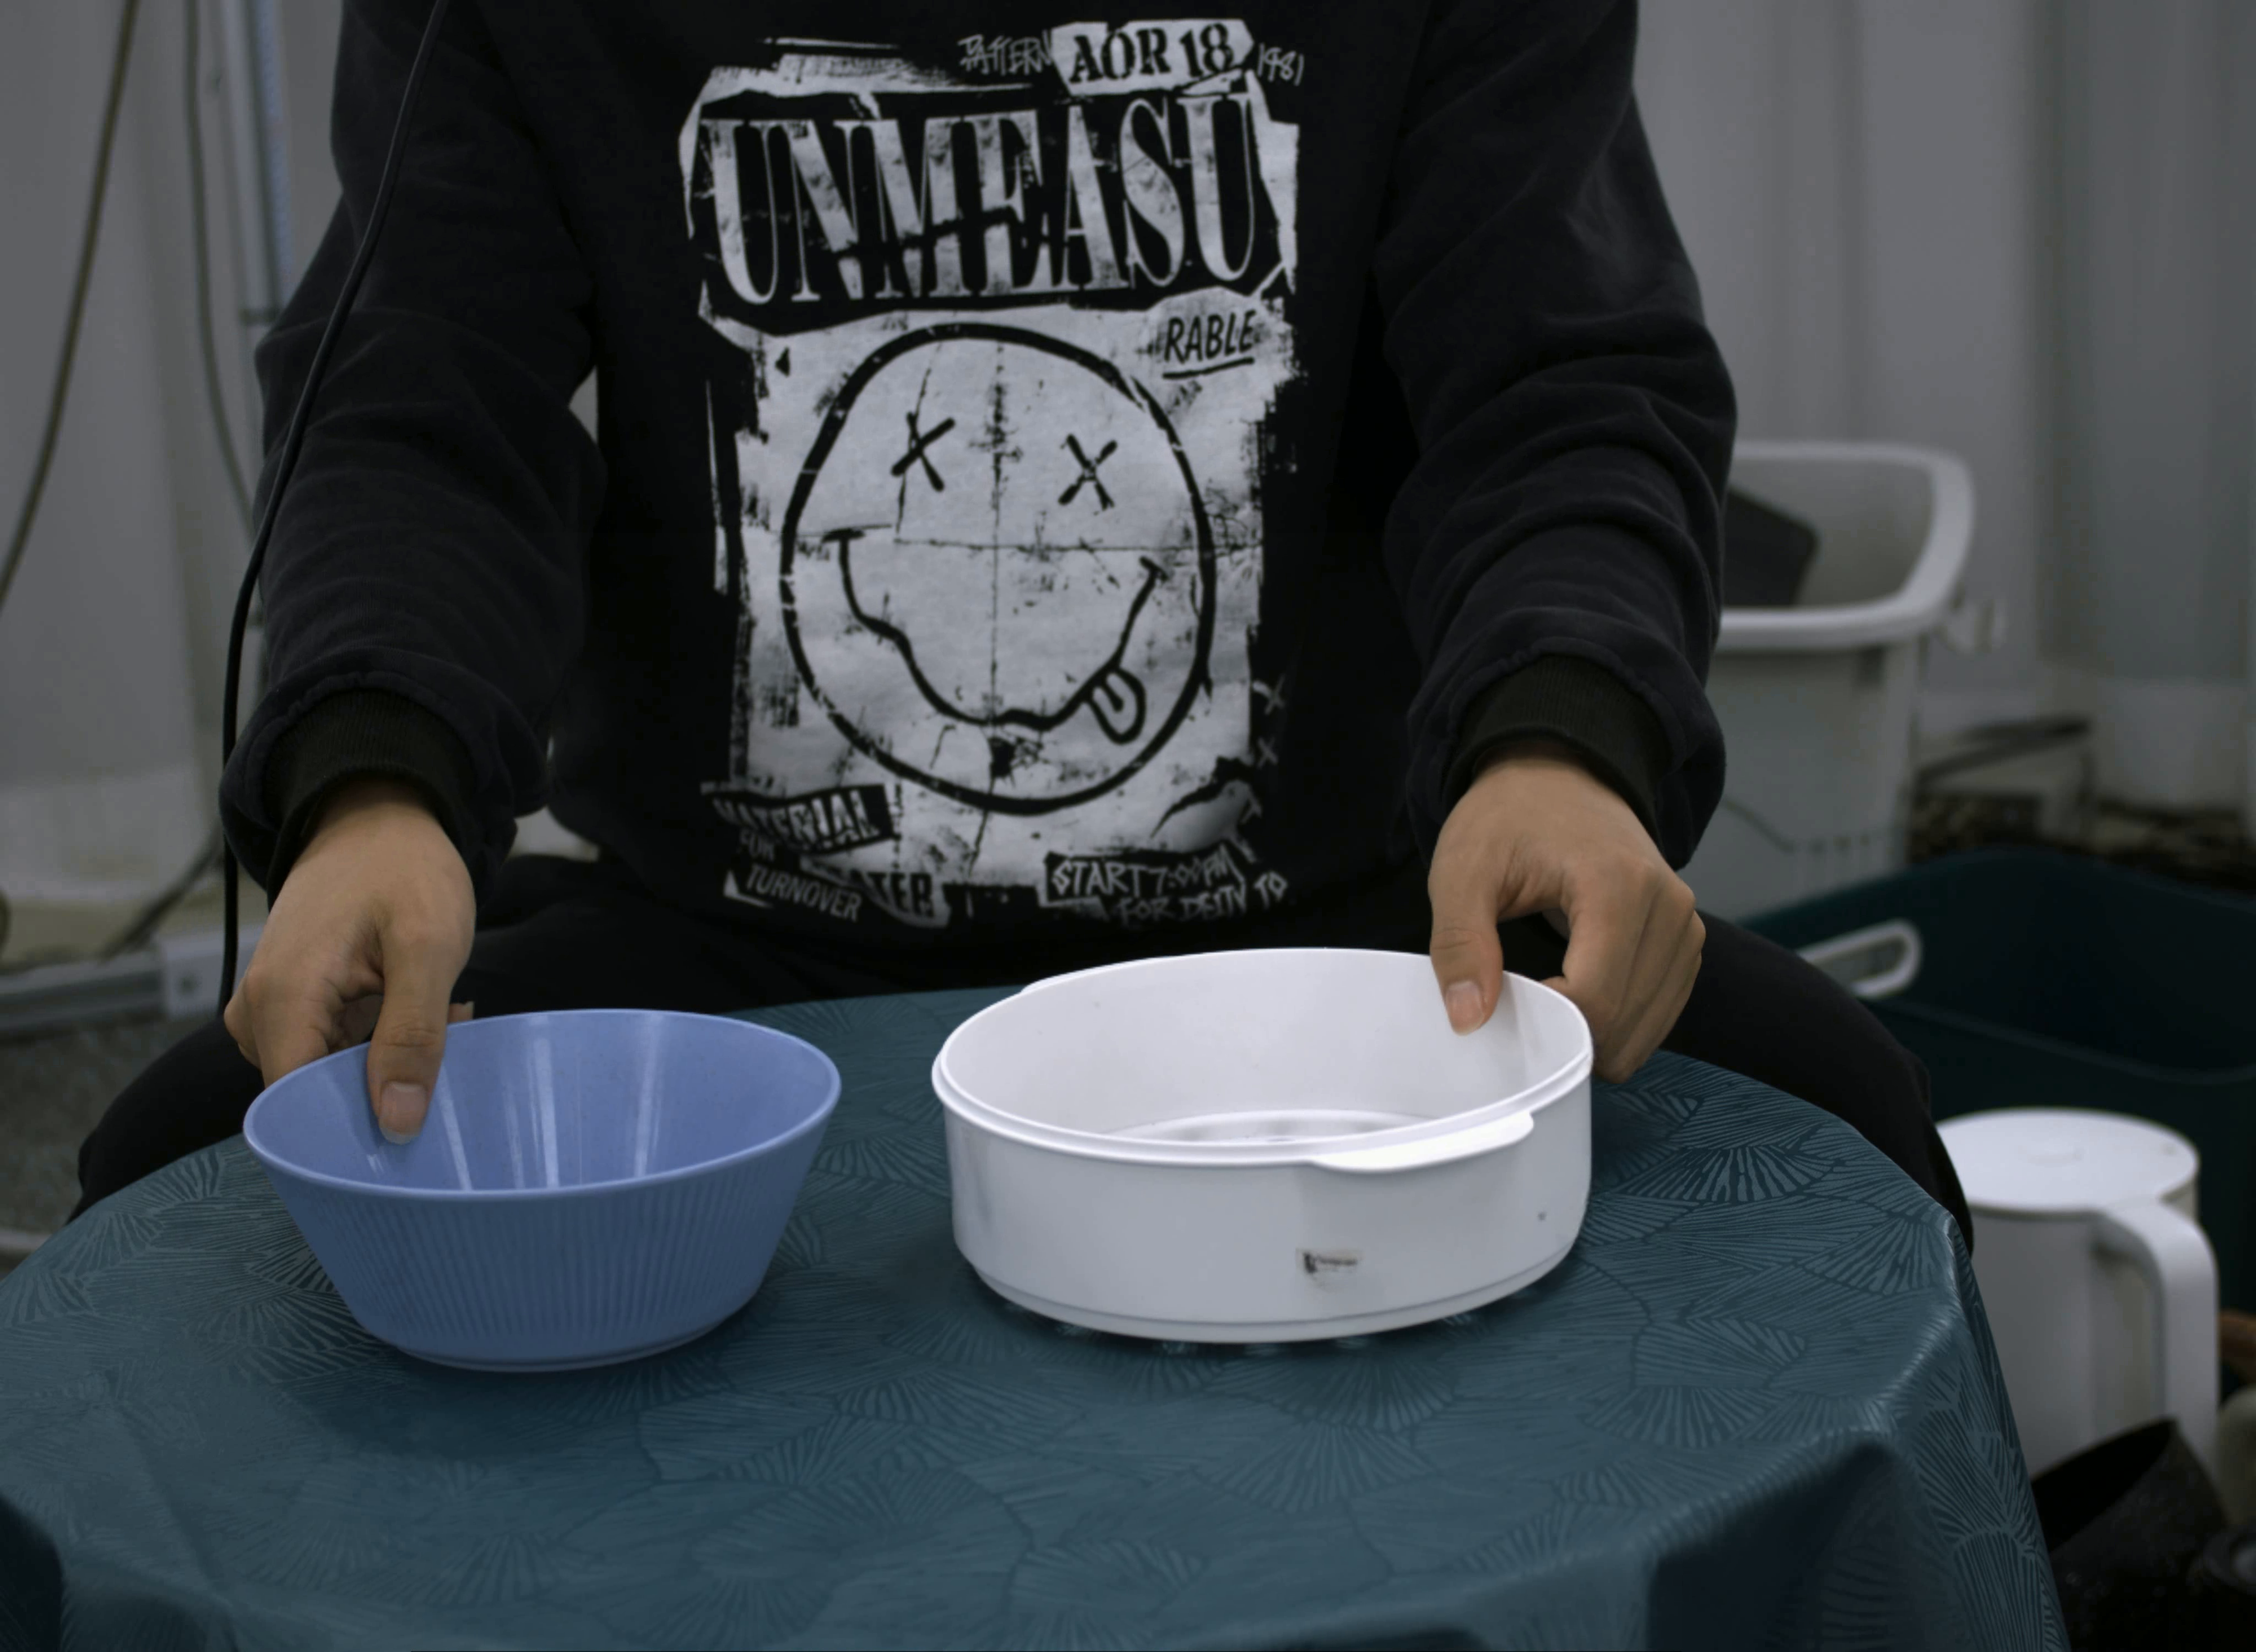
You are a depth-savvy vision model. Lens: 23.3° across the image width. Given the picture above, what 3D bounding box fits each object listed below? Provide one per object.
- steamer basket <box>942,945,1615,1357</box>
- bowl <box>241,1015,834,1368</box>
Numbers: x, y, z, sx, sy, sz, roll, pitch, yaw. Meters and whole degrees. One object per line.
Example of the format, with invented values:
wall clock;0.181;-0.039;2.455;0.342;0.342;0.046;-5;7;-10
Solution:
steamer basket;0.046;0.097;1.641;0.201;0.069;0.232;-10;19;-26
bowl;-0.173;0.111;1.625;0.175;0.070;0.177;-2;14;0
